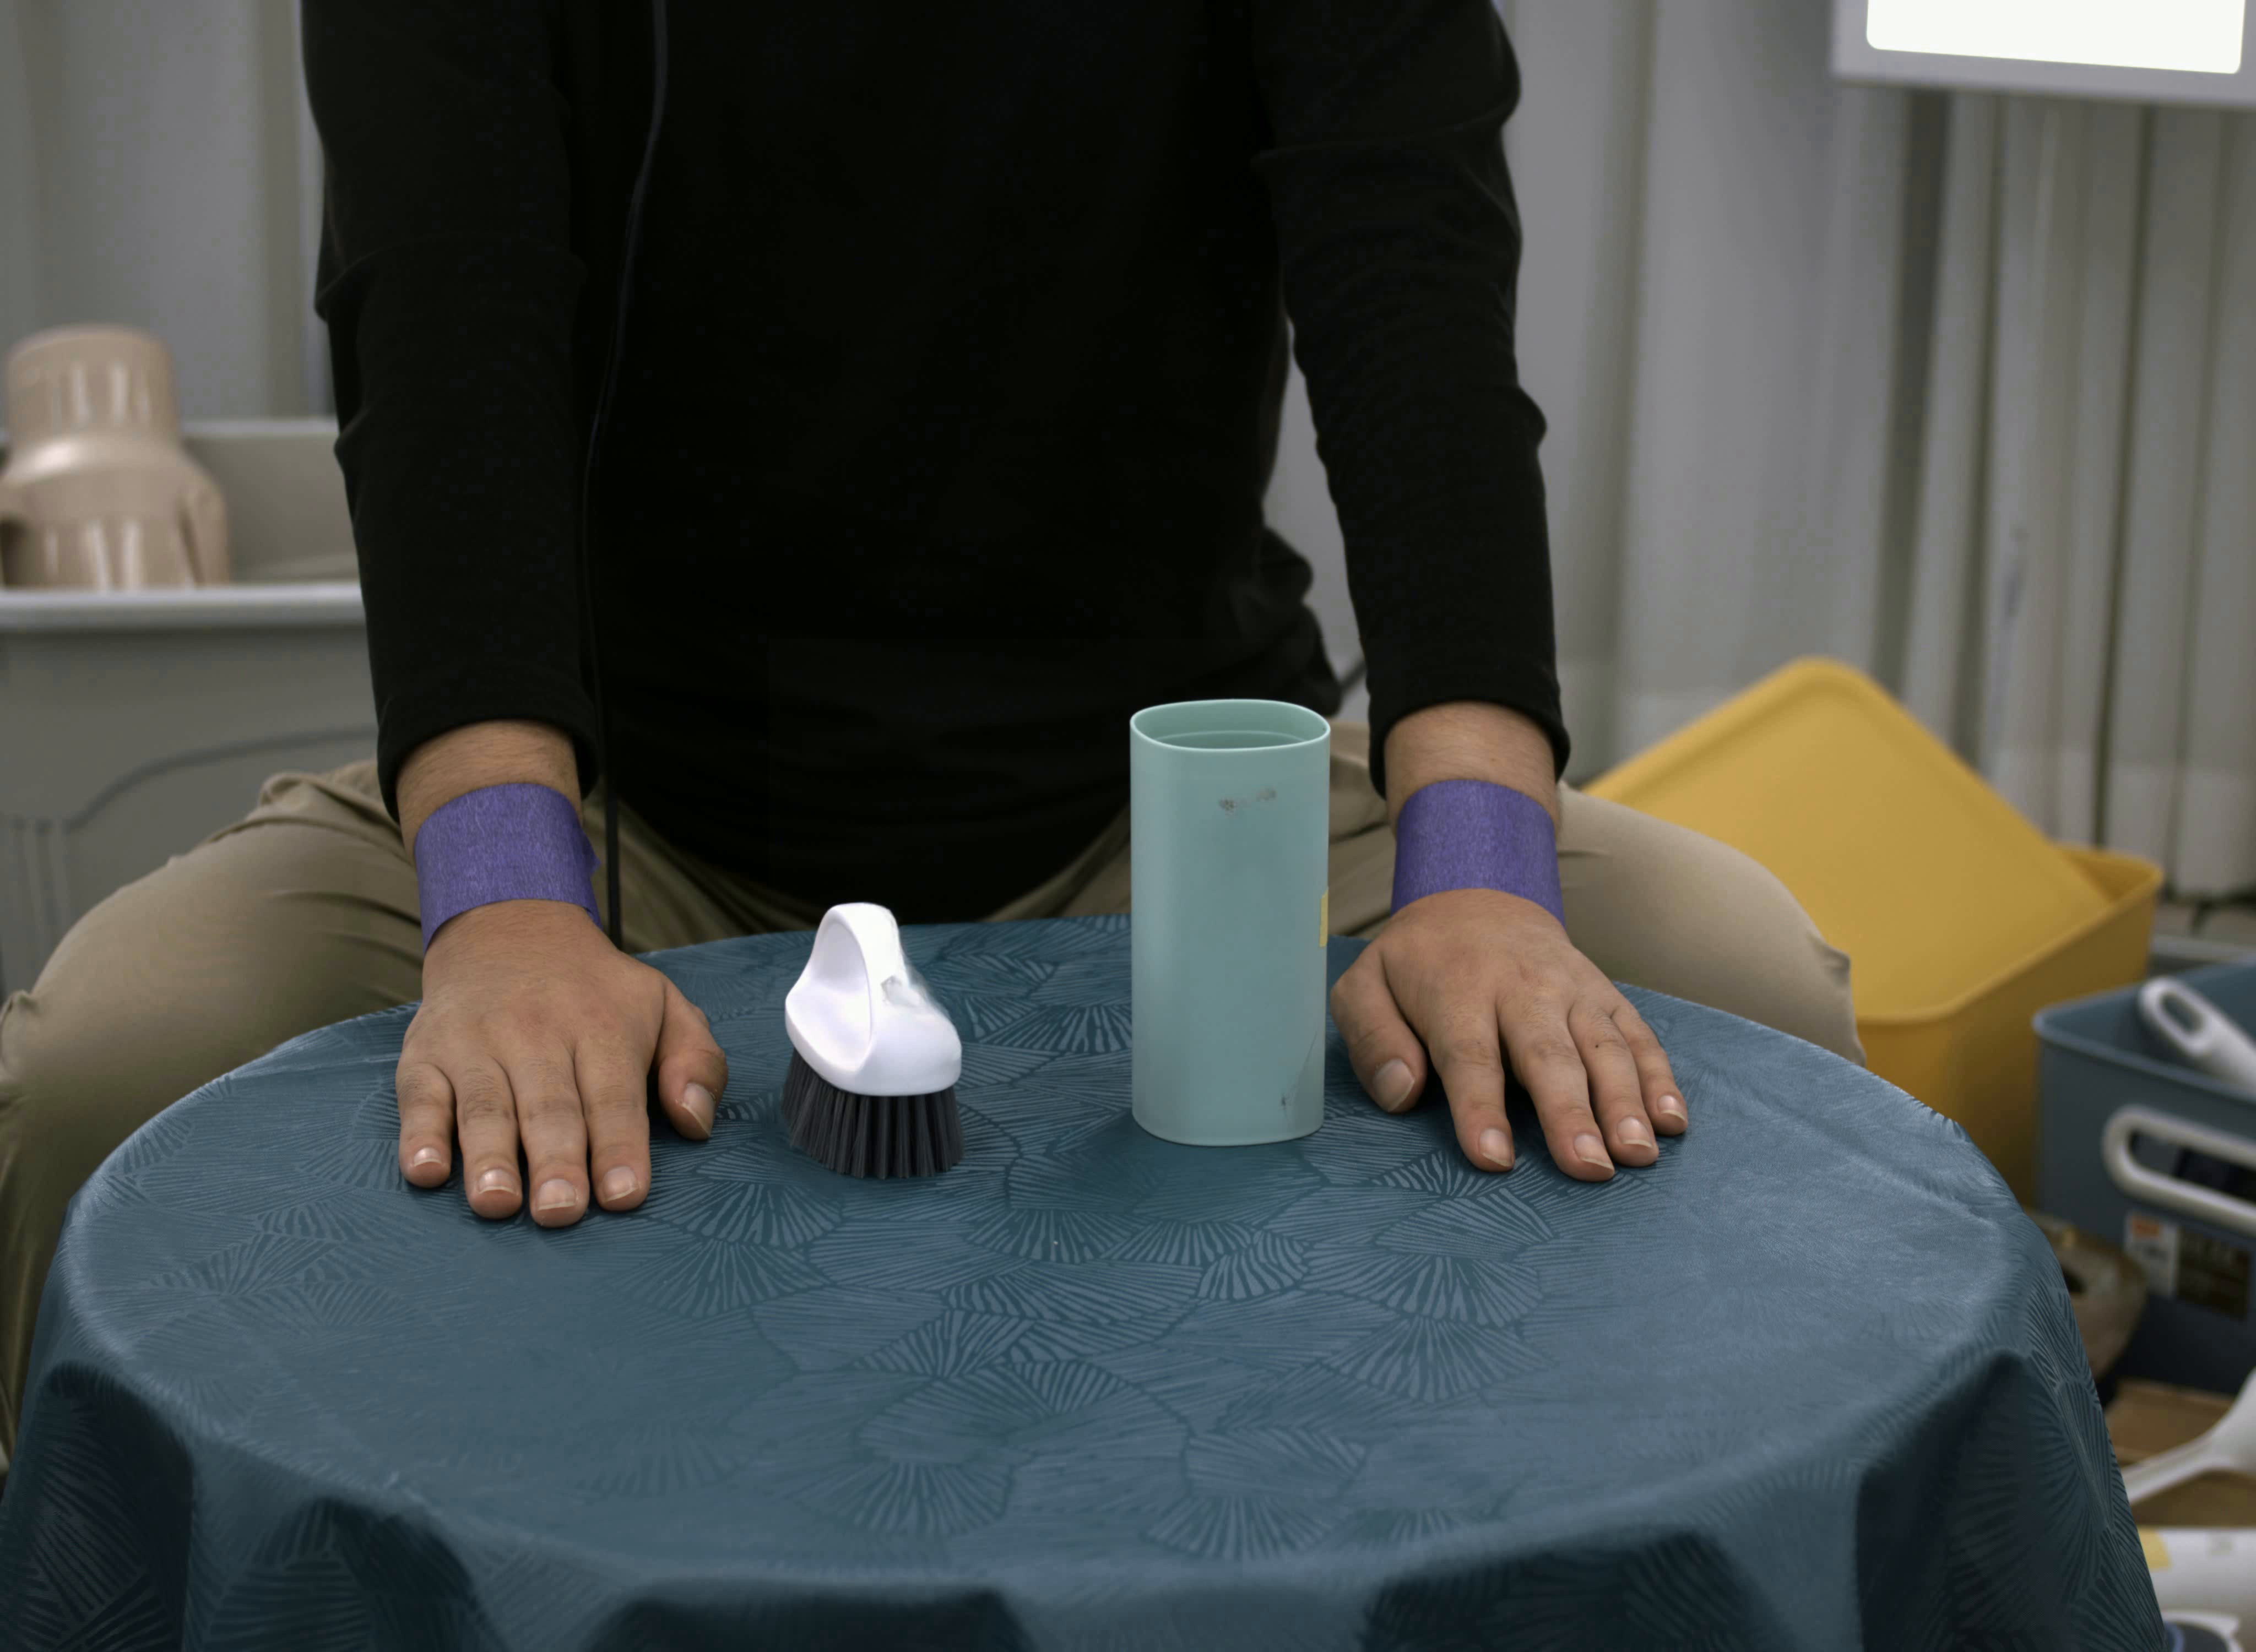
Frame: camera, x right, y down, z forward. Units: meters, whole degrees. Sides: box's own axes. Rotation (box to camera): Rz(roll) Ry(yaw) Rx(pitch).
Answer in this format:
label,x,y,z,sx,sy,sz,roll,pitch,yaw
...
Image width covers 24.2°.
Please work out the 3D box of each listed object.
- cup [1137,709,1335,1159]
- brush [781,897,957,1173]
label,x,y,z,sx,sy,sz,roll,pitch,yaw
cup,0.032,0.034,1.675,0.066,0.133,0.066,0,17,1
brush,-0.082,0.061,1.664,0.050,0.073,0.098,-2,17,-13
